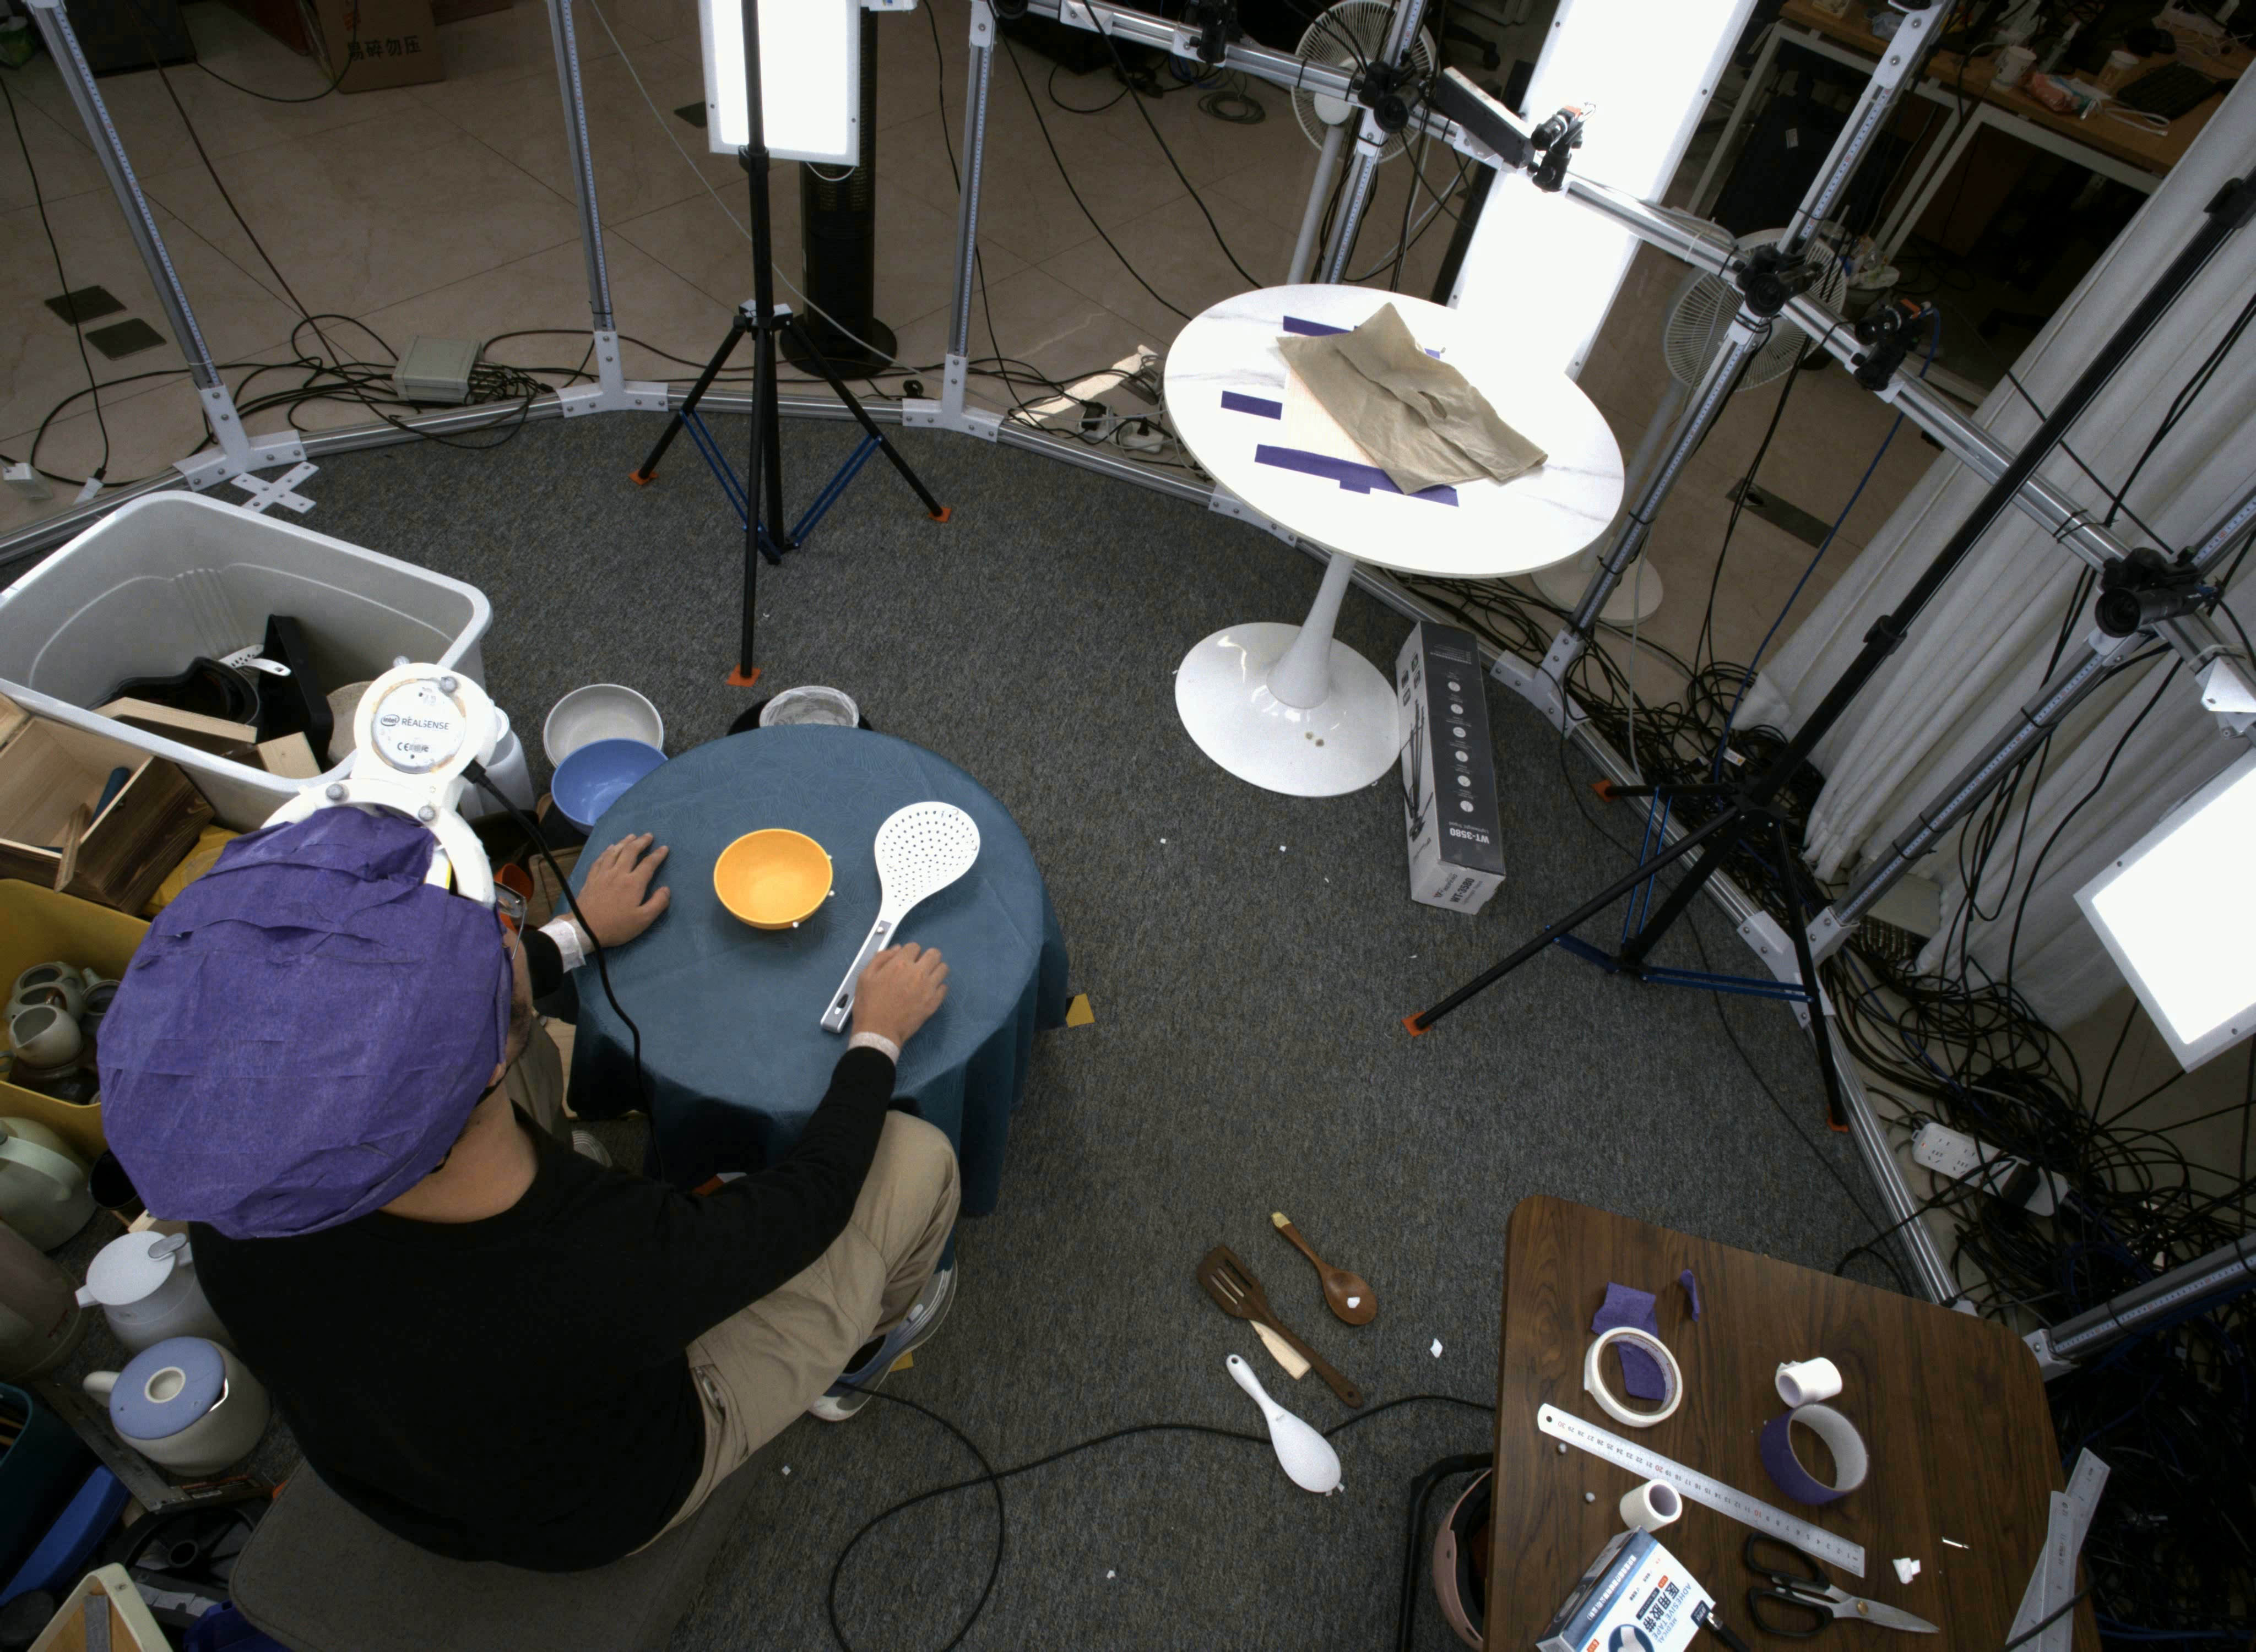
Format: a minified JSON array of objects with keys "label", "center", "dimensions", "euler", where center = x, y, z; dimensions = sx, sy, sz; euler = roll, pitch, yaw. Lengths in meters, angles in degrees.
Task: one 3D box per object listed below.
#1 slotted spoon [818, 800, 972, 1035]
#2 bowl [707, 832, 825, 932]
[{"label":"slotted spoon","center":[-0.303,0.108,1.640],"dimensions":[0.134,0.047,0.346],"euler":[17,52,7]},{"label":"bowl","center":[-0.449,0.079,1.617],"dimensions":[0.145,0.061,0.142],"euler":[7,51,-7]}]
